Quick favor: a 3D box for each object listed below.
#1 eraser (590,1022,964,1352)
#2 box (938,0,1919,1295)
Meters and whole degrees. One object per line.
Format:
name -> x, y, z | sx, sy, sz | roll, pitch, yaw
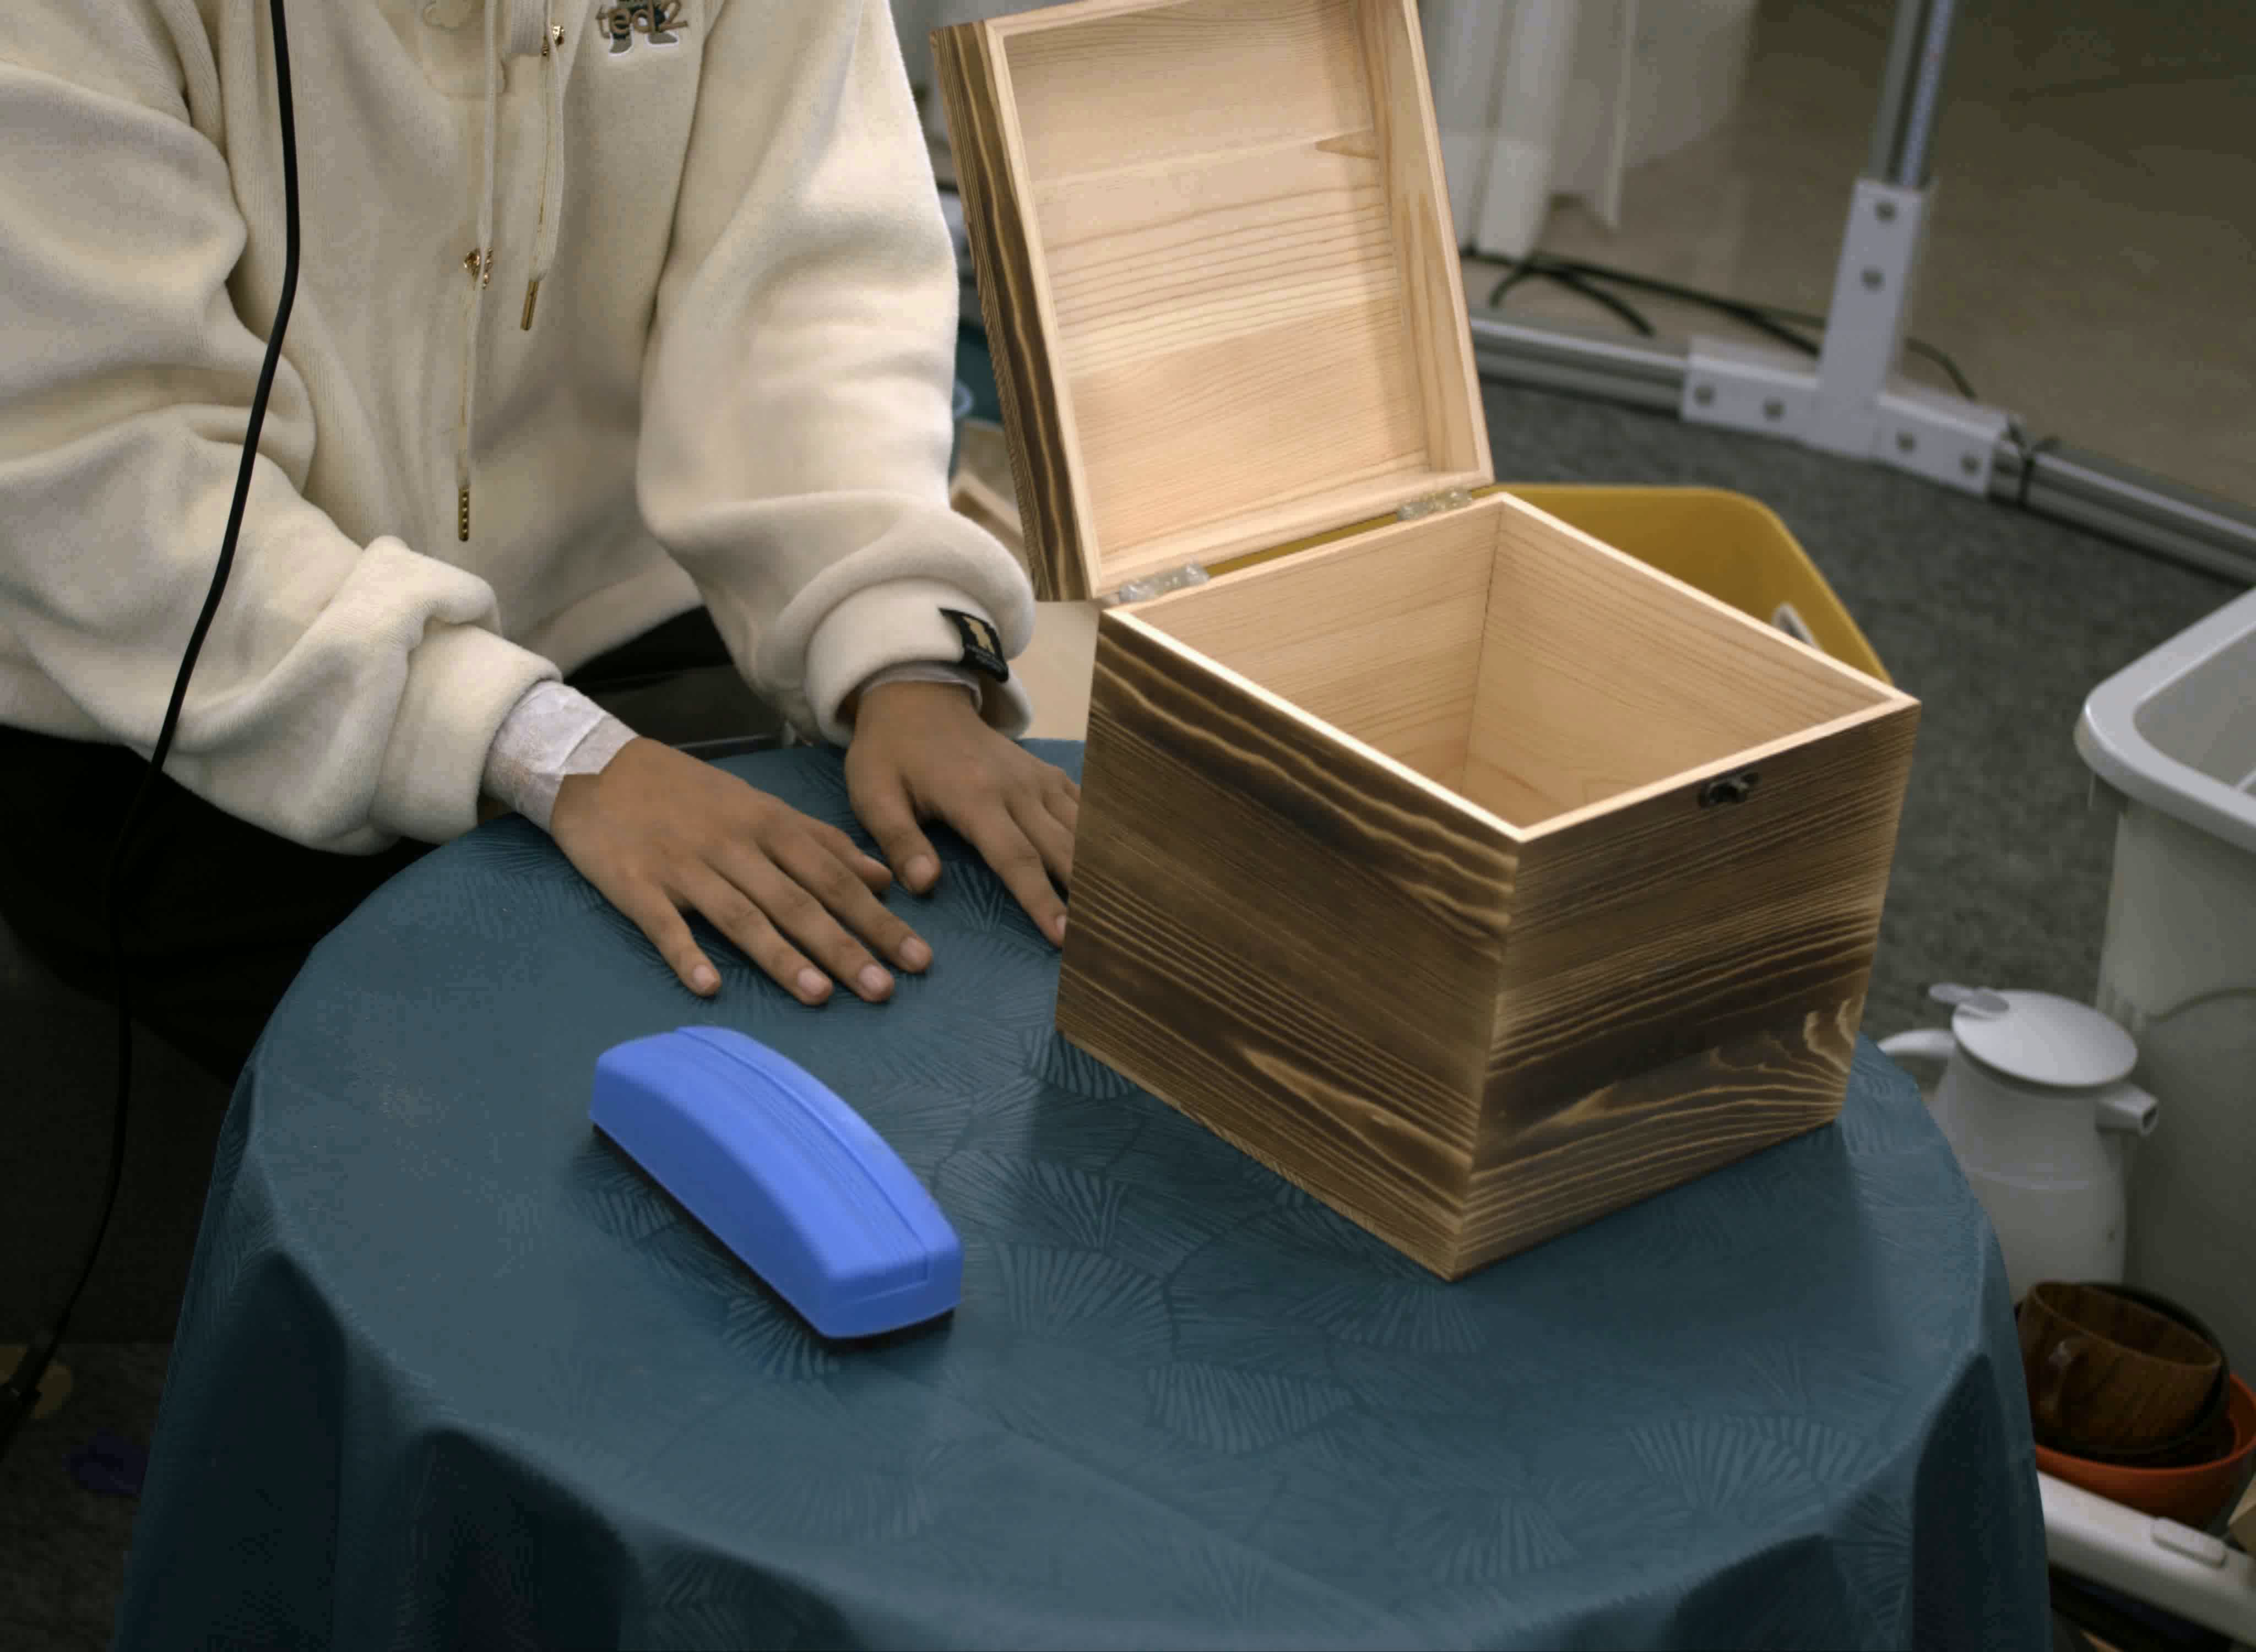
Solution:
eraser -> -0.116, 0.112, 1.747 | 0.053, 0.047, 0.163 | -12, 33, -33
box -> 0.095, -0.088, 1.848 | 0.207, 0.374, 0.325 | -18, 34, -39
